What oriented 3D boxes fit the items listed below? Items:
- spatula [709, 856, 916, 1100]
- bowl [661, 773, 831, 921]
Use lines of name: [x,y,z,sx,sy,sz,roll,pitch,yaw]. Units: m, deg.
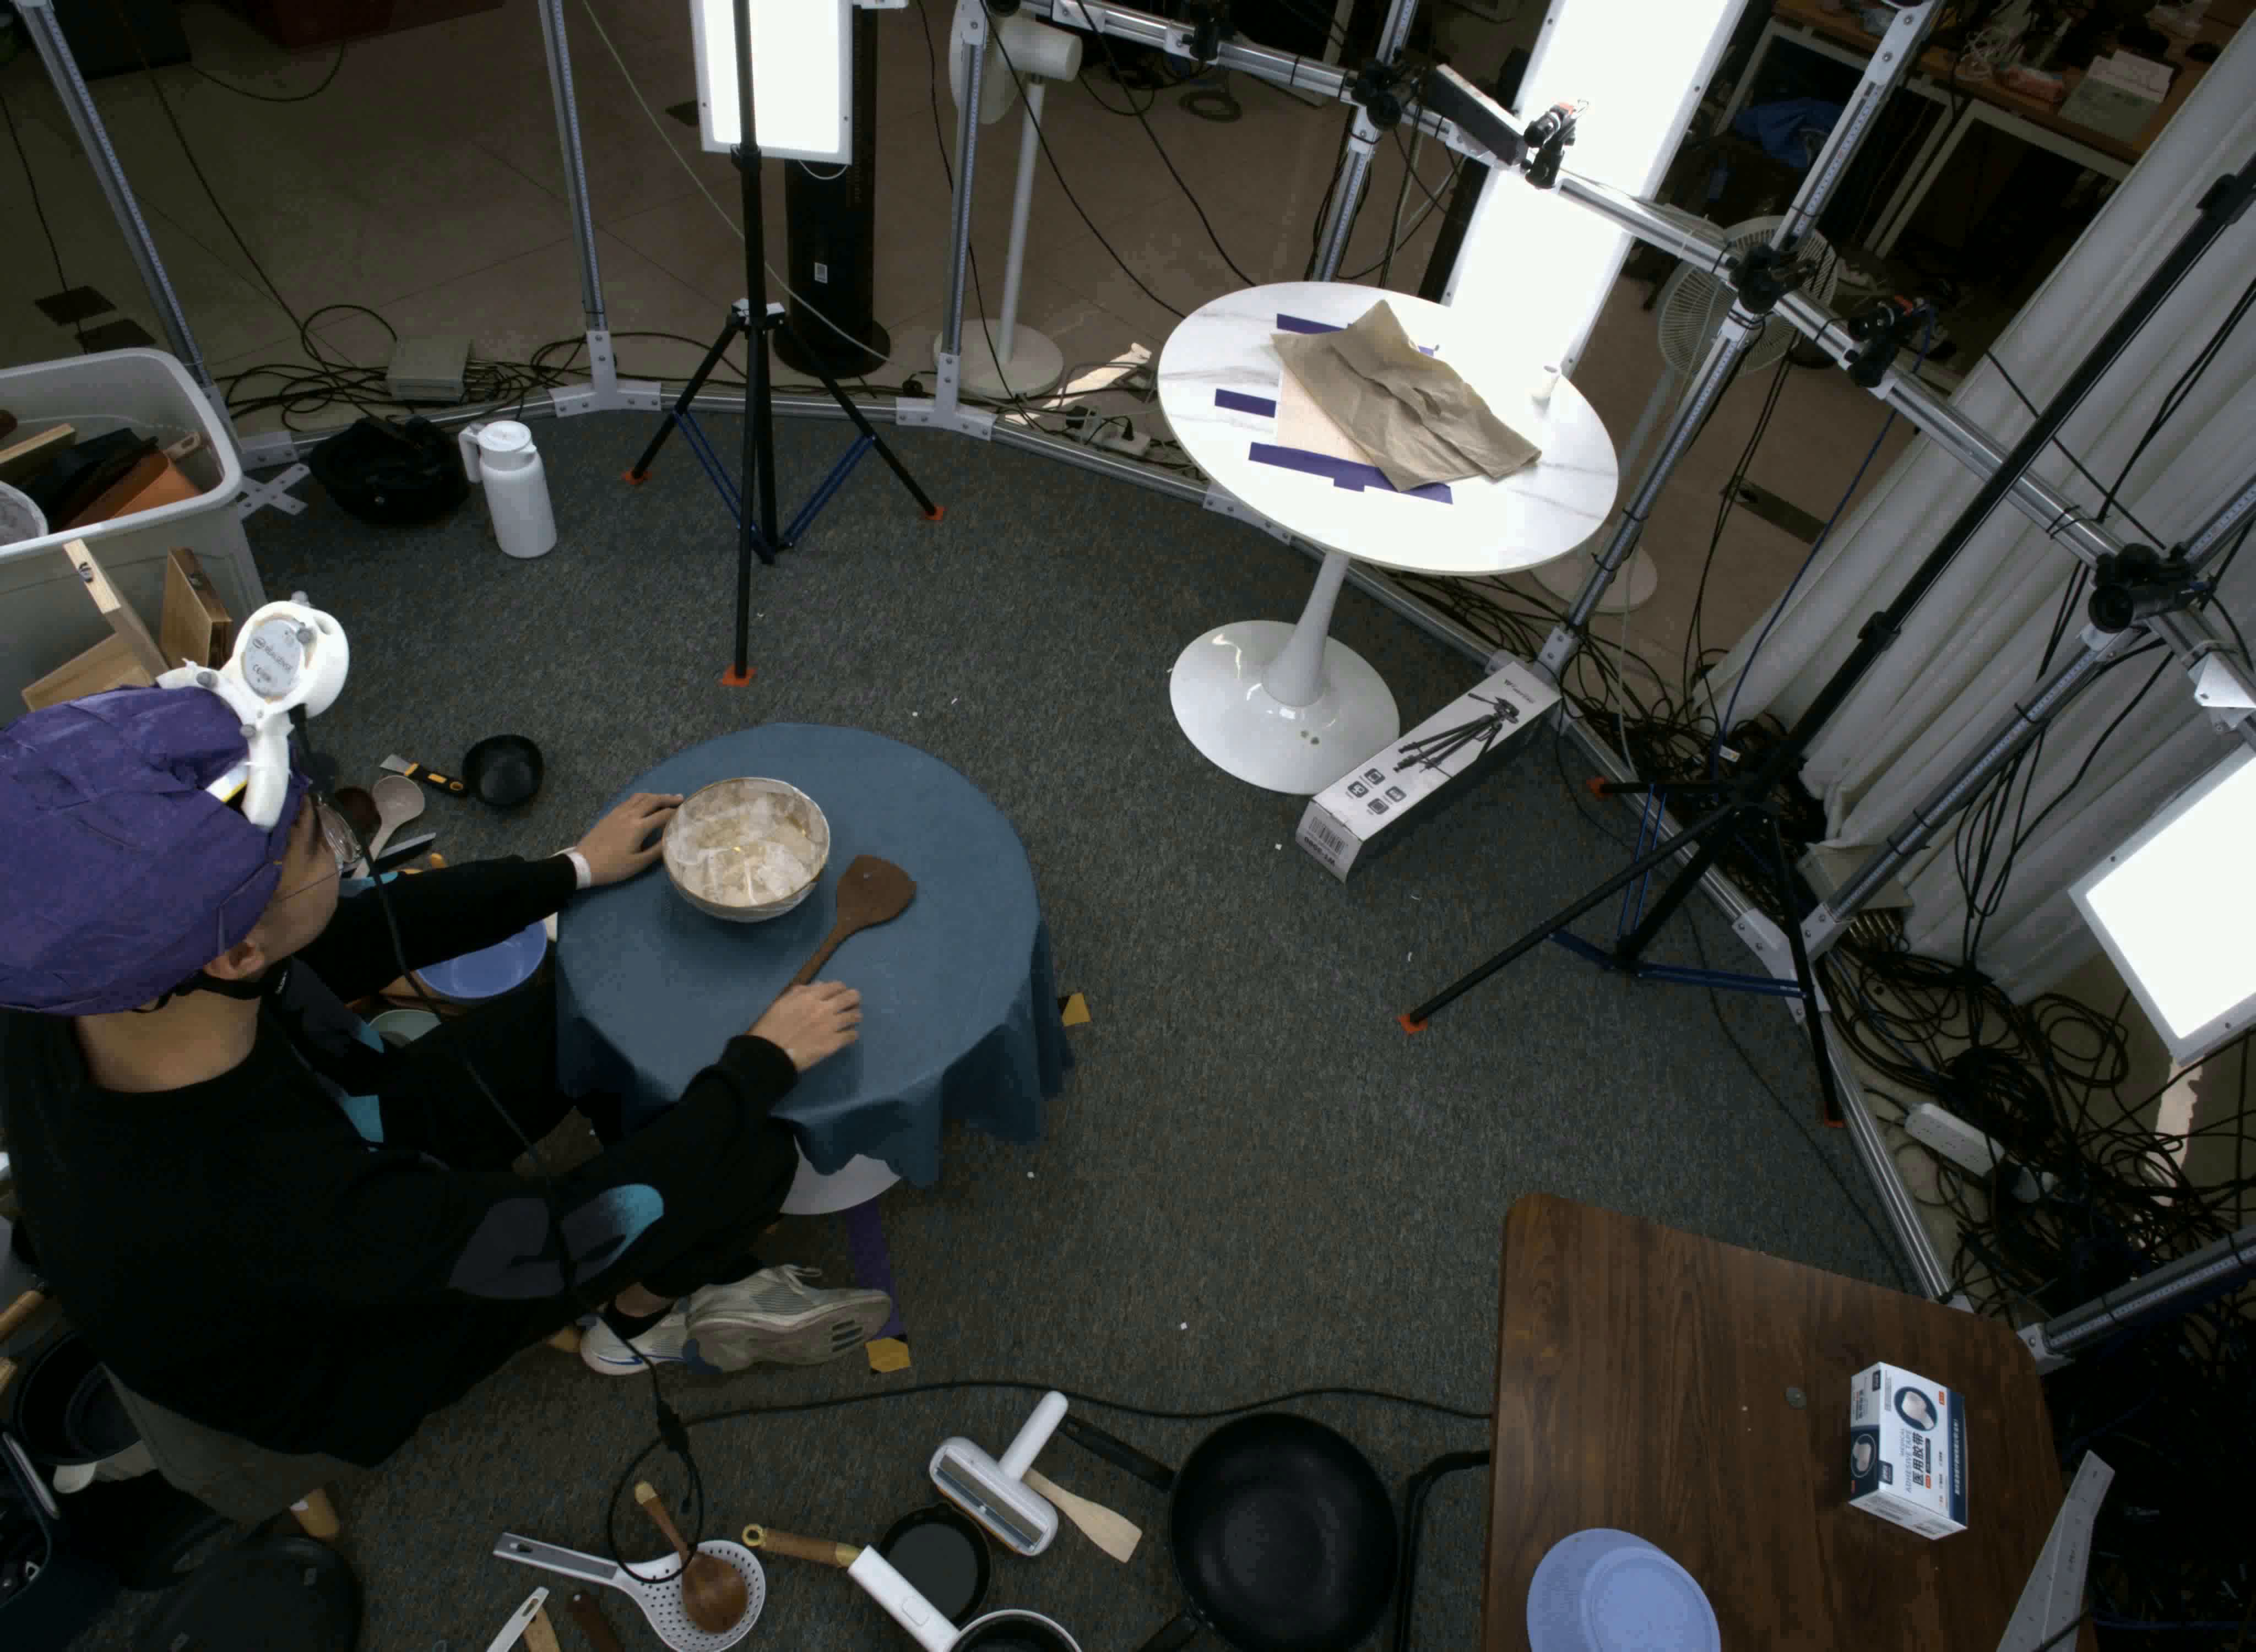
spatula: [-0.393,0.179,1.594,0.094,0.016,0.384,28,52,7]
bowl: [-0.479,0.040,1.623,0.214,0.096,0.211,8,53,-9]
